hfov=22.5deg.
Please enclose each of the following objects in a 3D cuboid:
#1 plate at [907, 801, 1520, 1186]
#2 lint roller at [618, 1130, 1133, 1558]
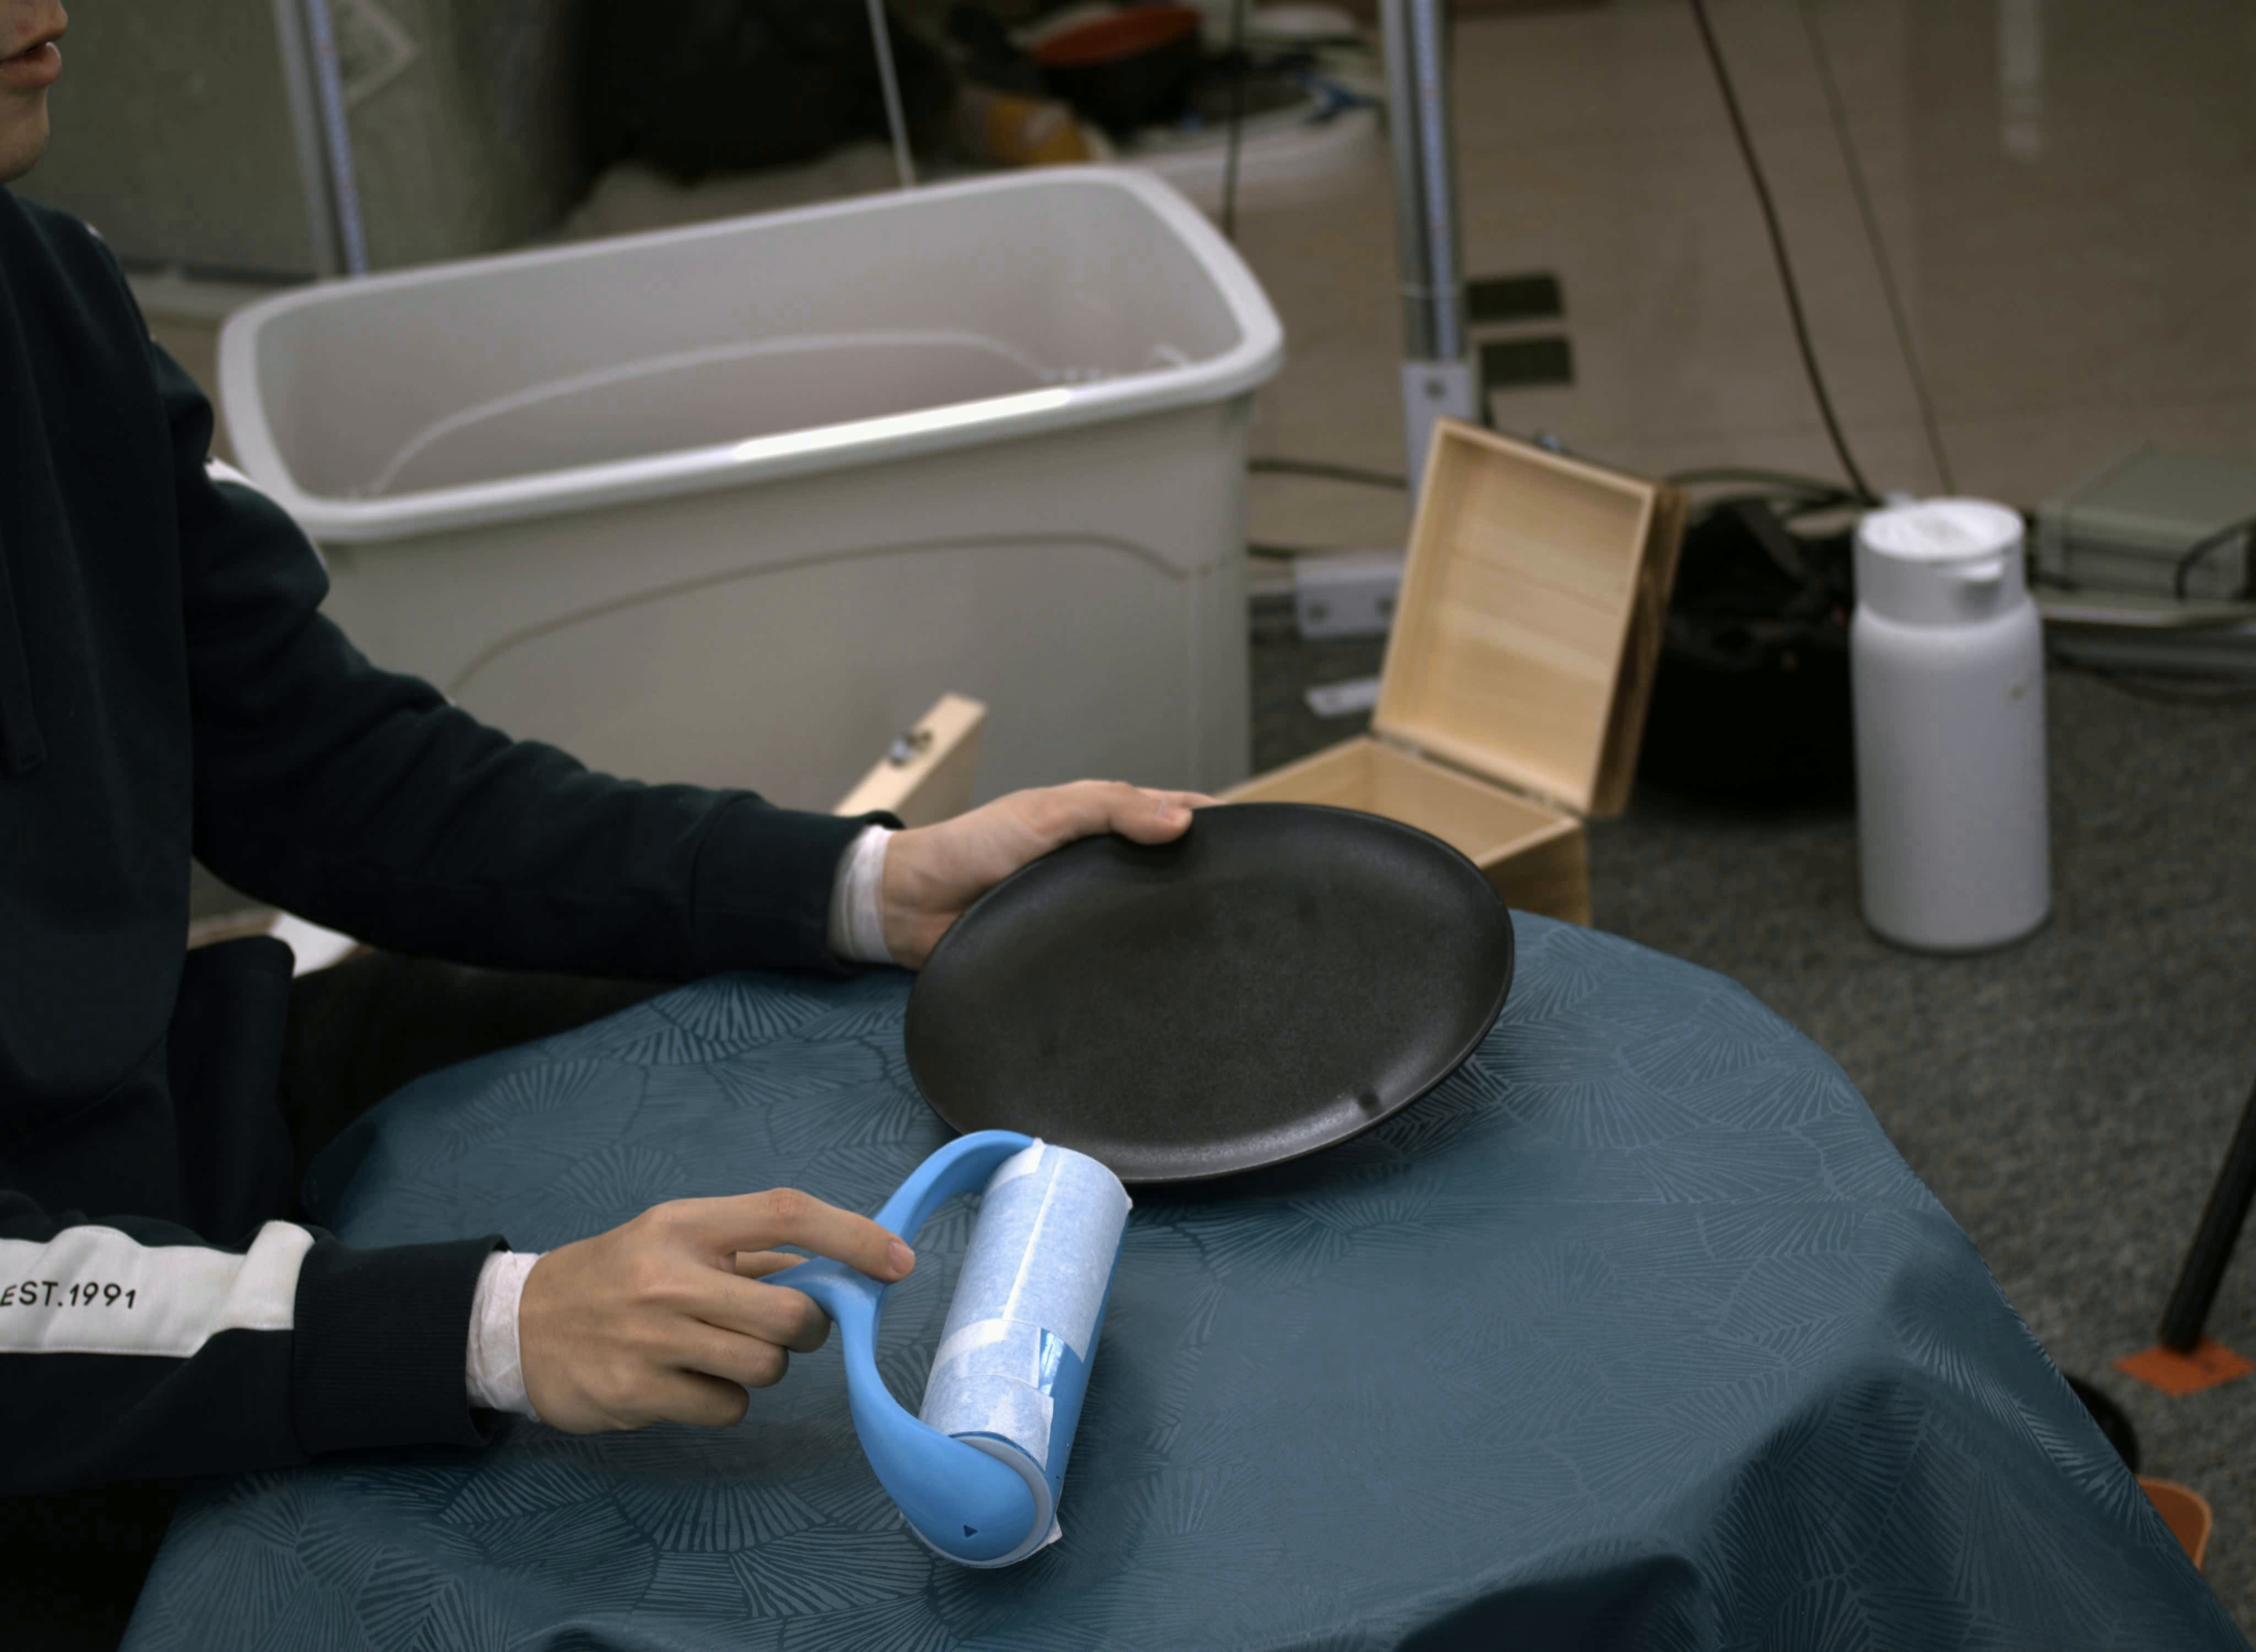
[{"bbox_3d":[0.034,0.069,2.217,0.244,0.024,0.240,-9,35,6],"label":"plate"},{"bbox_3d":[-0.094,0.182,1.982,0.180,0.069,0.225,-3,27,6],"label":"lint roller"}]
